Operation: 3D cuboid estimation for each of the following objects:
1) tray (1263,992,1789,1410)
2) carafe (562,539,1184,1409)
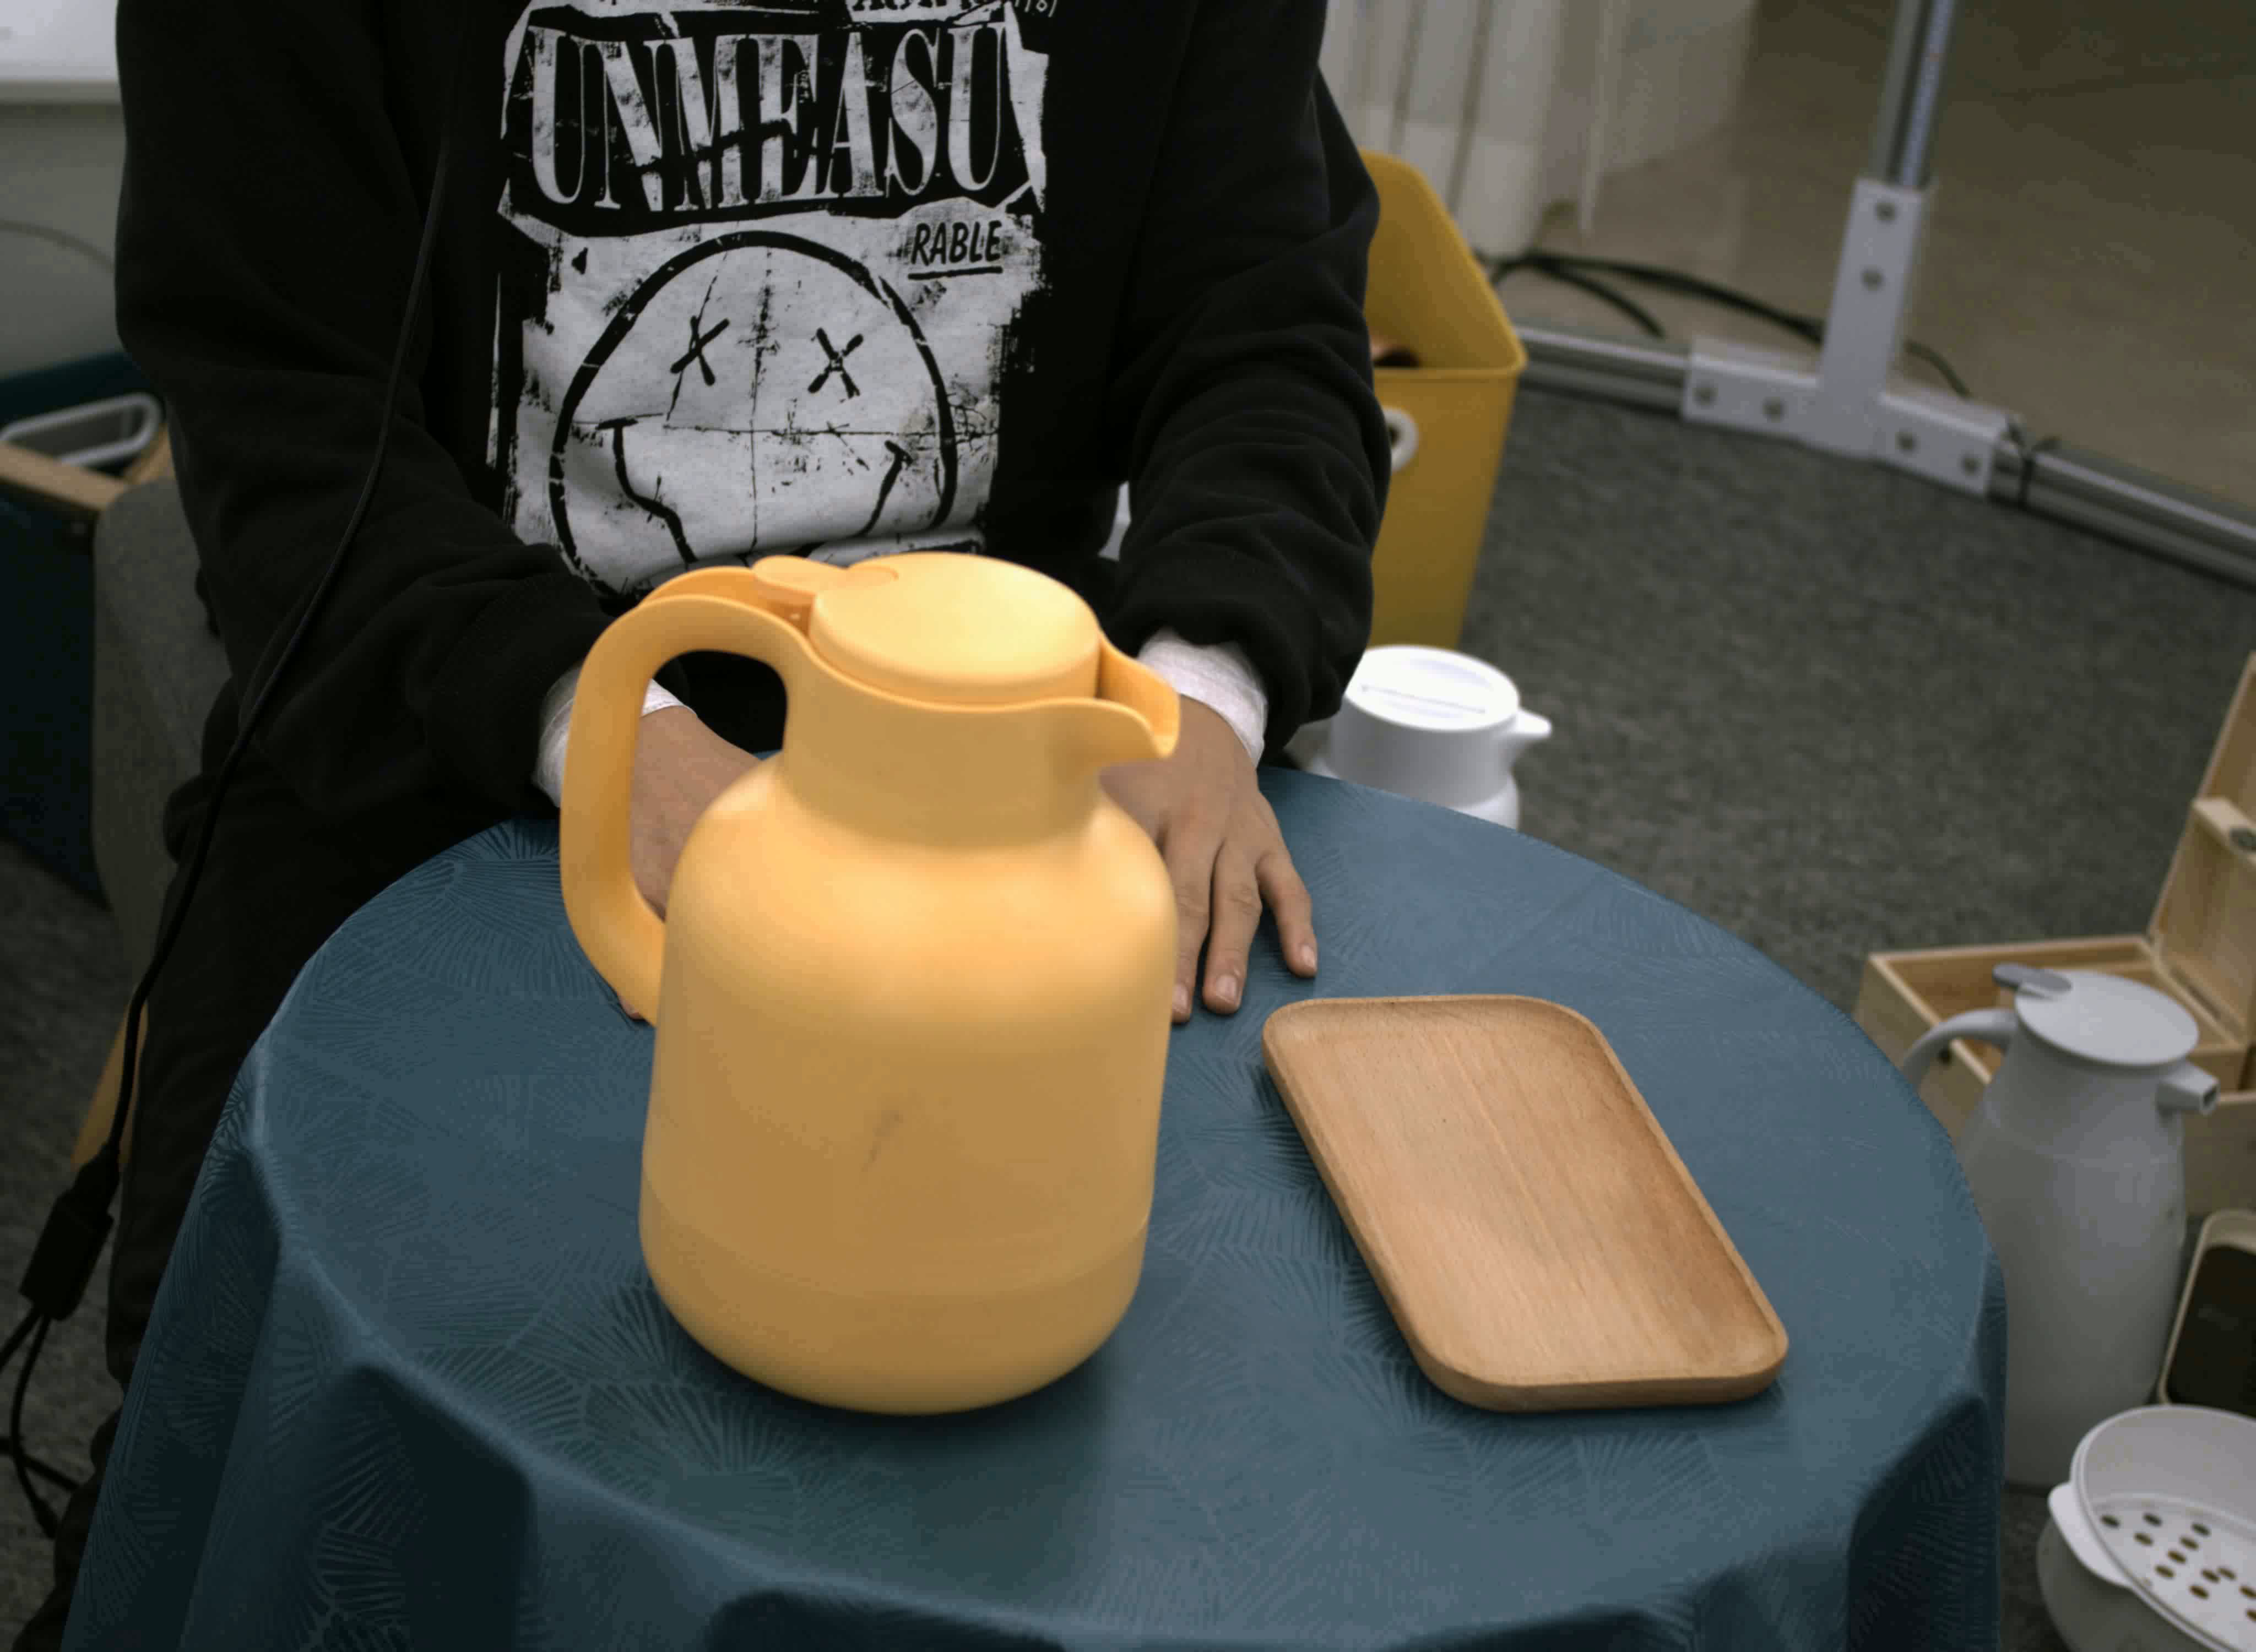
[{"bbox_3d":[0.131,0.125,1.814,0.130,0.023,0.253,2,26,-15],"label":"tray"},{"bbox_3d":[-0.085,0.036,1.669,0.203,0.260,0.163,19,26,19],"label":"carafe"}]
